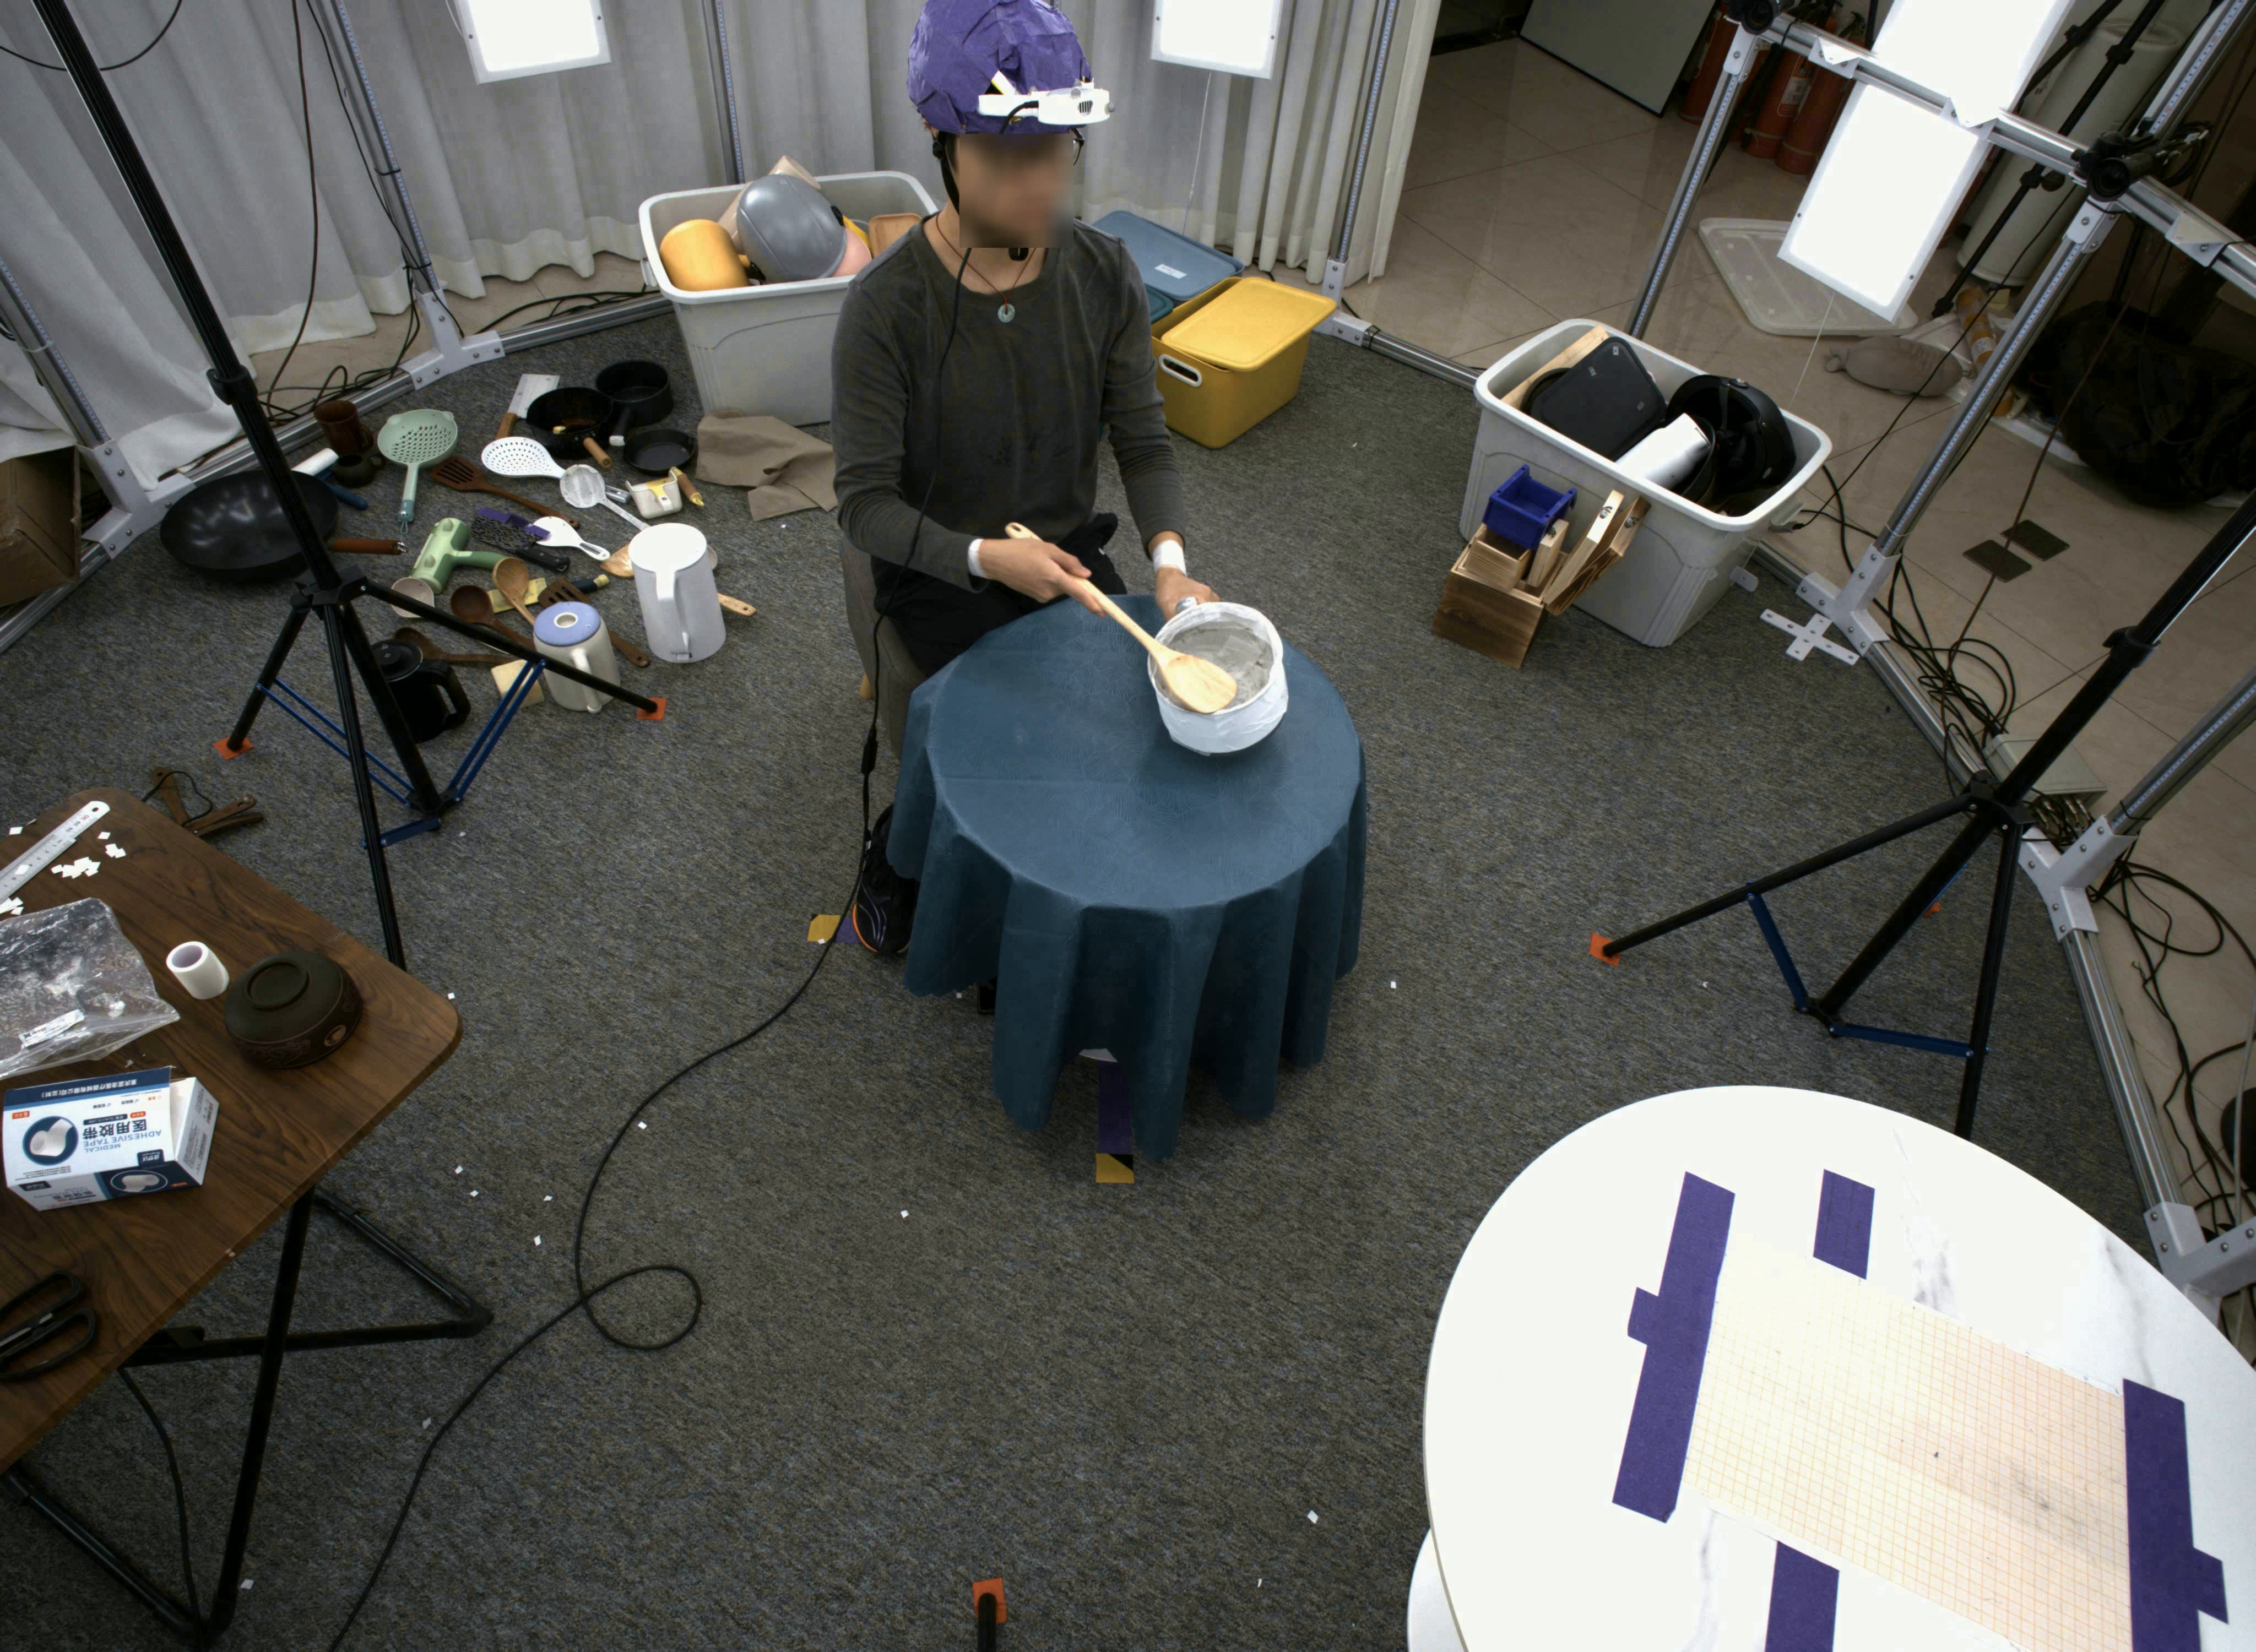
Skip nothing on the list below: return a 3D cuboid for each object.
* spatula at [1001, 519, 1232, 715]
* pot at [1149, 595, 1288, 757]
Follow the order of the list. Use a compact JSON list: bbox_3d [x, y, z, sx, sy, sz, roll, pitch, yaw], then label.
[{"bbox_3d":[-0.025,-0.278,1.678,0.394,0.018,0.097,42,48,12],"label":"spatula"},{"bbox_3d":[0.114,-0.213,1.728,0.179,0.133,0.239,-22,60,-2],"label":"pot"}]
